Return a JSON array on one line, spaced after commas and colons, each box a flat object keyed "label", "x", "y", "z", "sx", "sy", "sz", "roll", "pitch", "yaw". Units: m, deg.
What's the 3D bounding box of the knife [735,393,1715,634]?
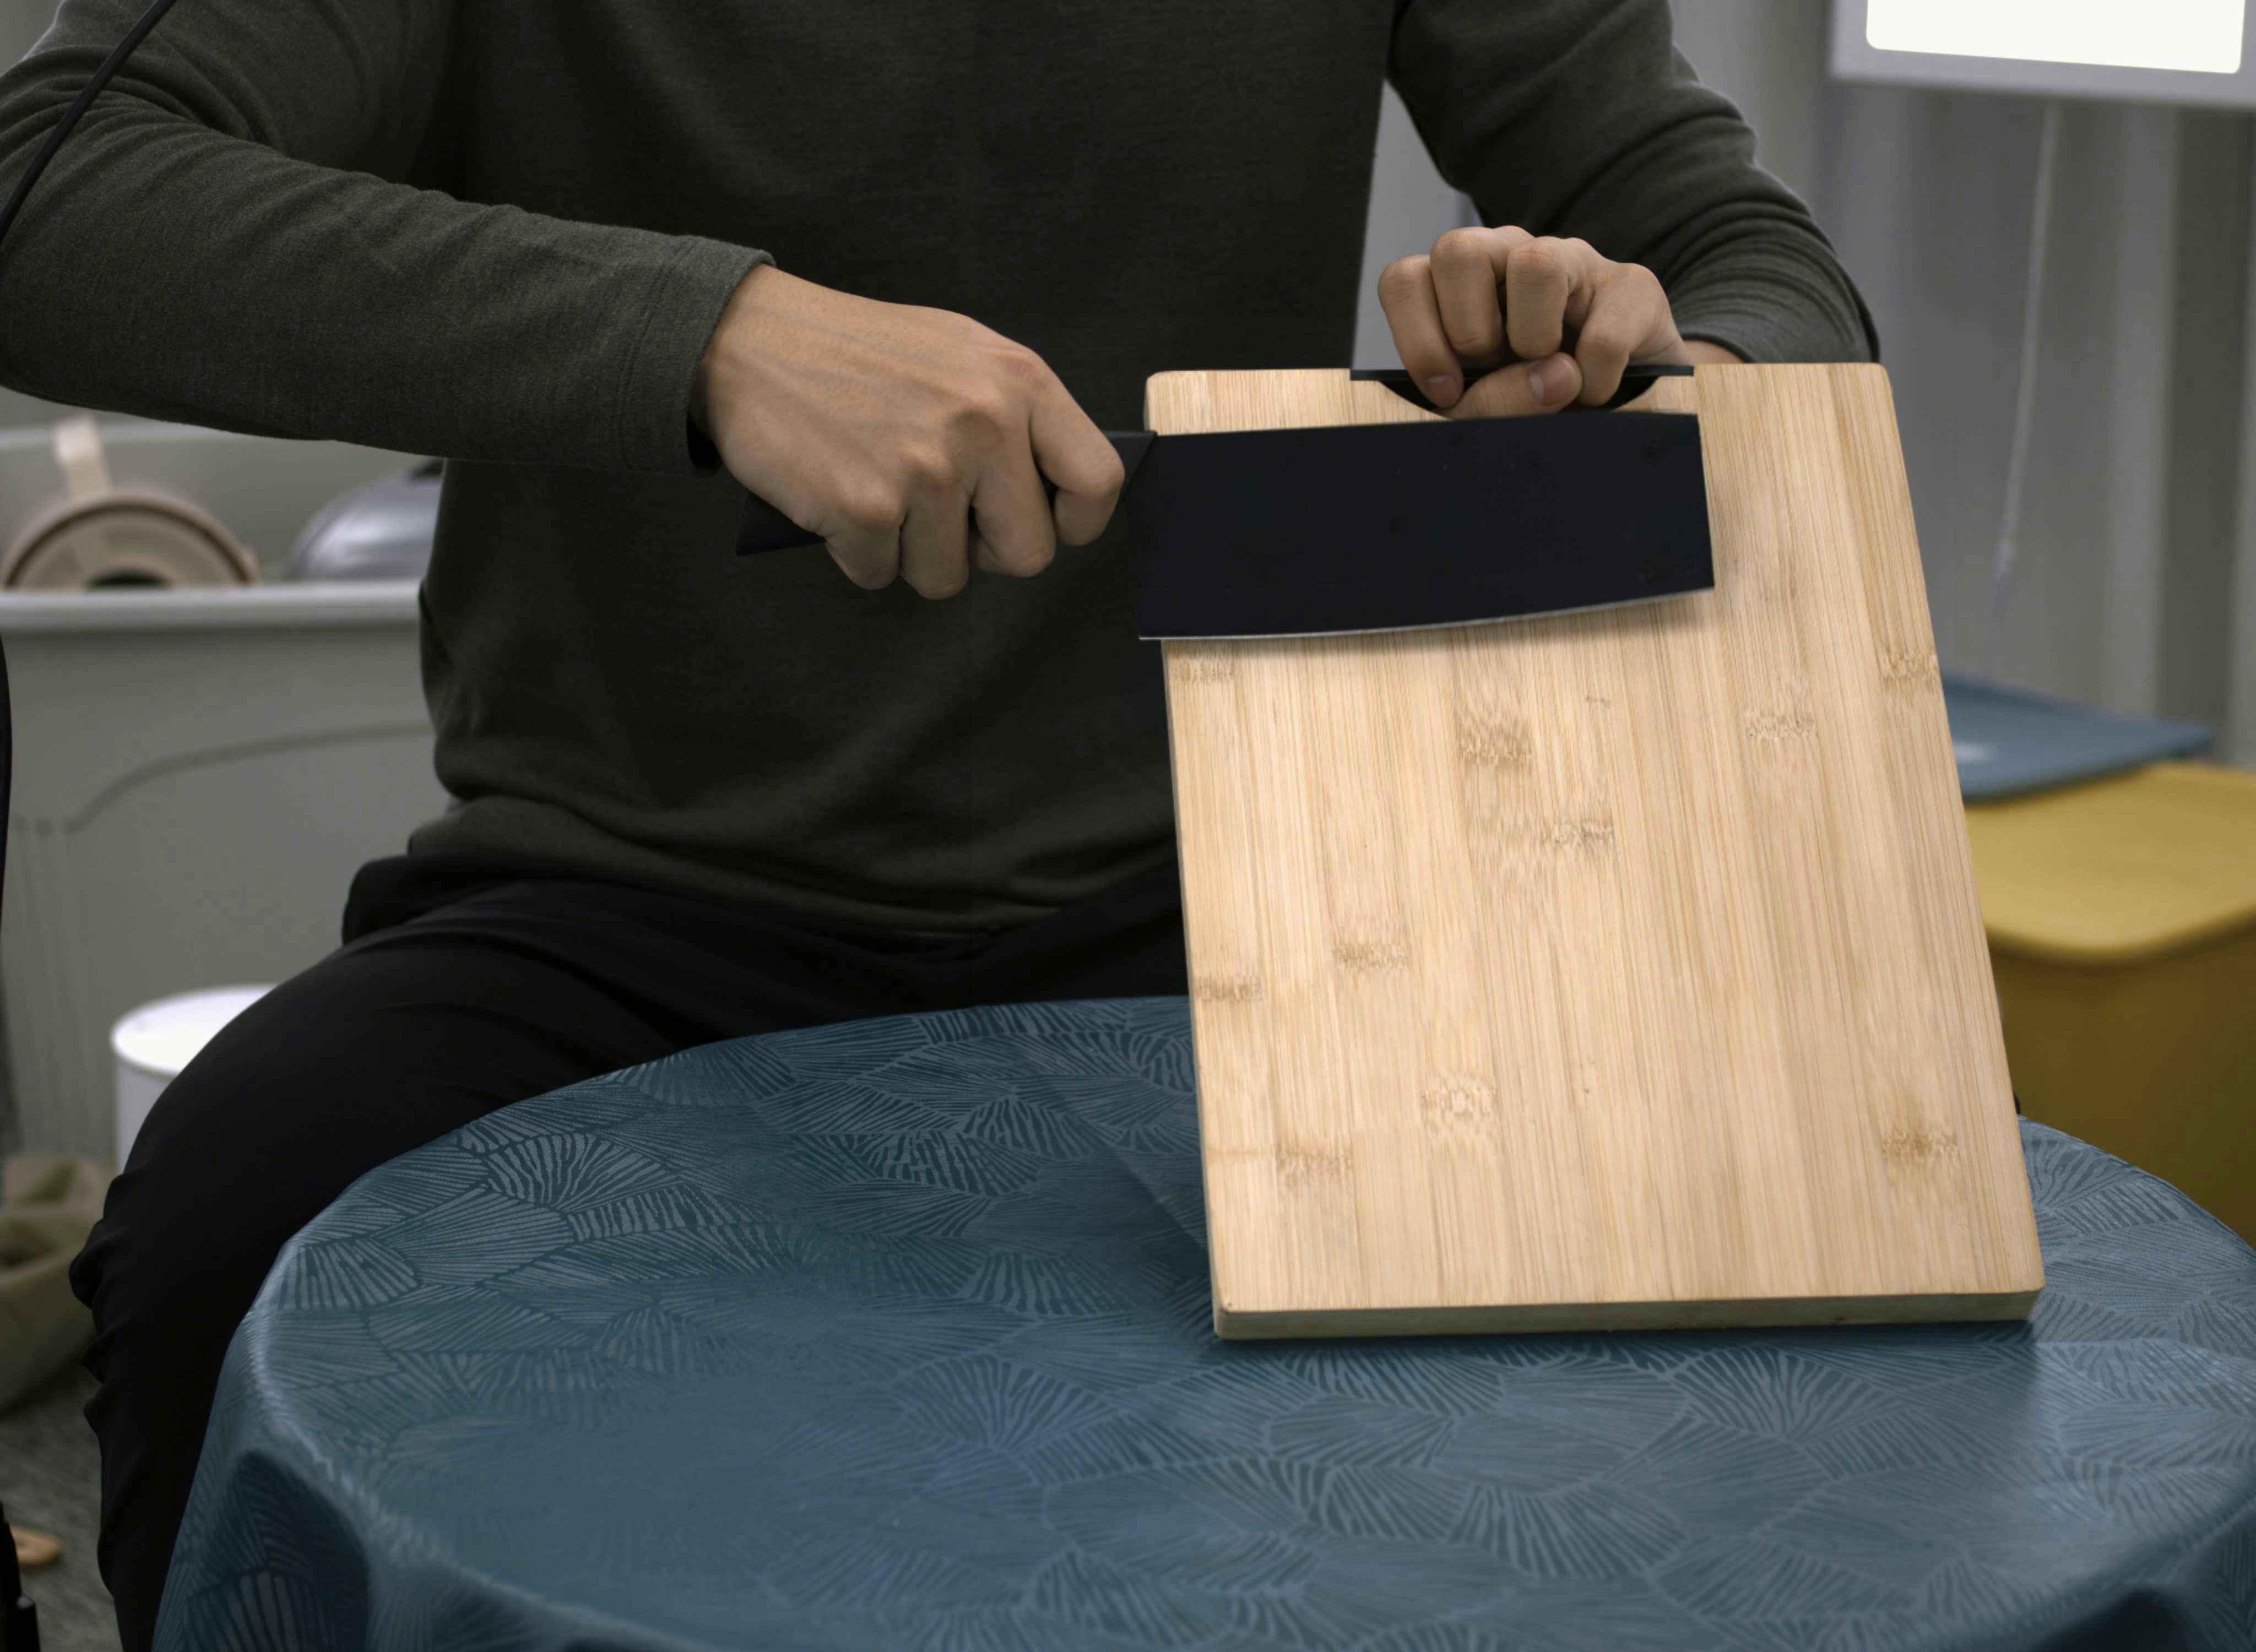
[{"label": "knife", "x": 0.031, "y": -0.096, "z": 1.616, "sx": 0.302, "sy": 0.081, "sz": 0.021, "roll": 0, "pitch": -14, "yaw": -4}]

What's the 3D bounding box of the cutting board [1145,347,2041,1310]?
[{"label": "cutting board", "x": 0.134, "y": -0.005, "z": 1.601, "sx": 0.250, "sy": 0.024, "sz": 0.346, "roll": -1, "pitch": 57, "yaw": -6}]
